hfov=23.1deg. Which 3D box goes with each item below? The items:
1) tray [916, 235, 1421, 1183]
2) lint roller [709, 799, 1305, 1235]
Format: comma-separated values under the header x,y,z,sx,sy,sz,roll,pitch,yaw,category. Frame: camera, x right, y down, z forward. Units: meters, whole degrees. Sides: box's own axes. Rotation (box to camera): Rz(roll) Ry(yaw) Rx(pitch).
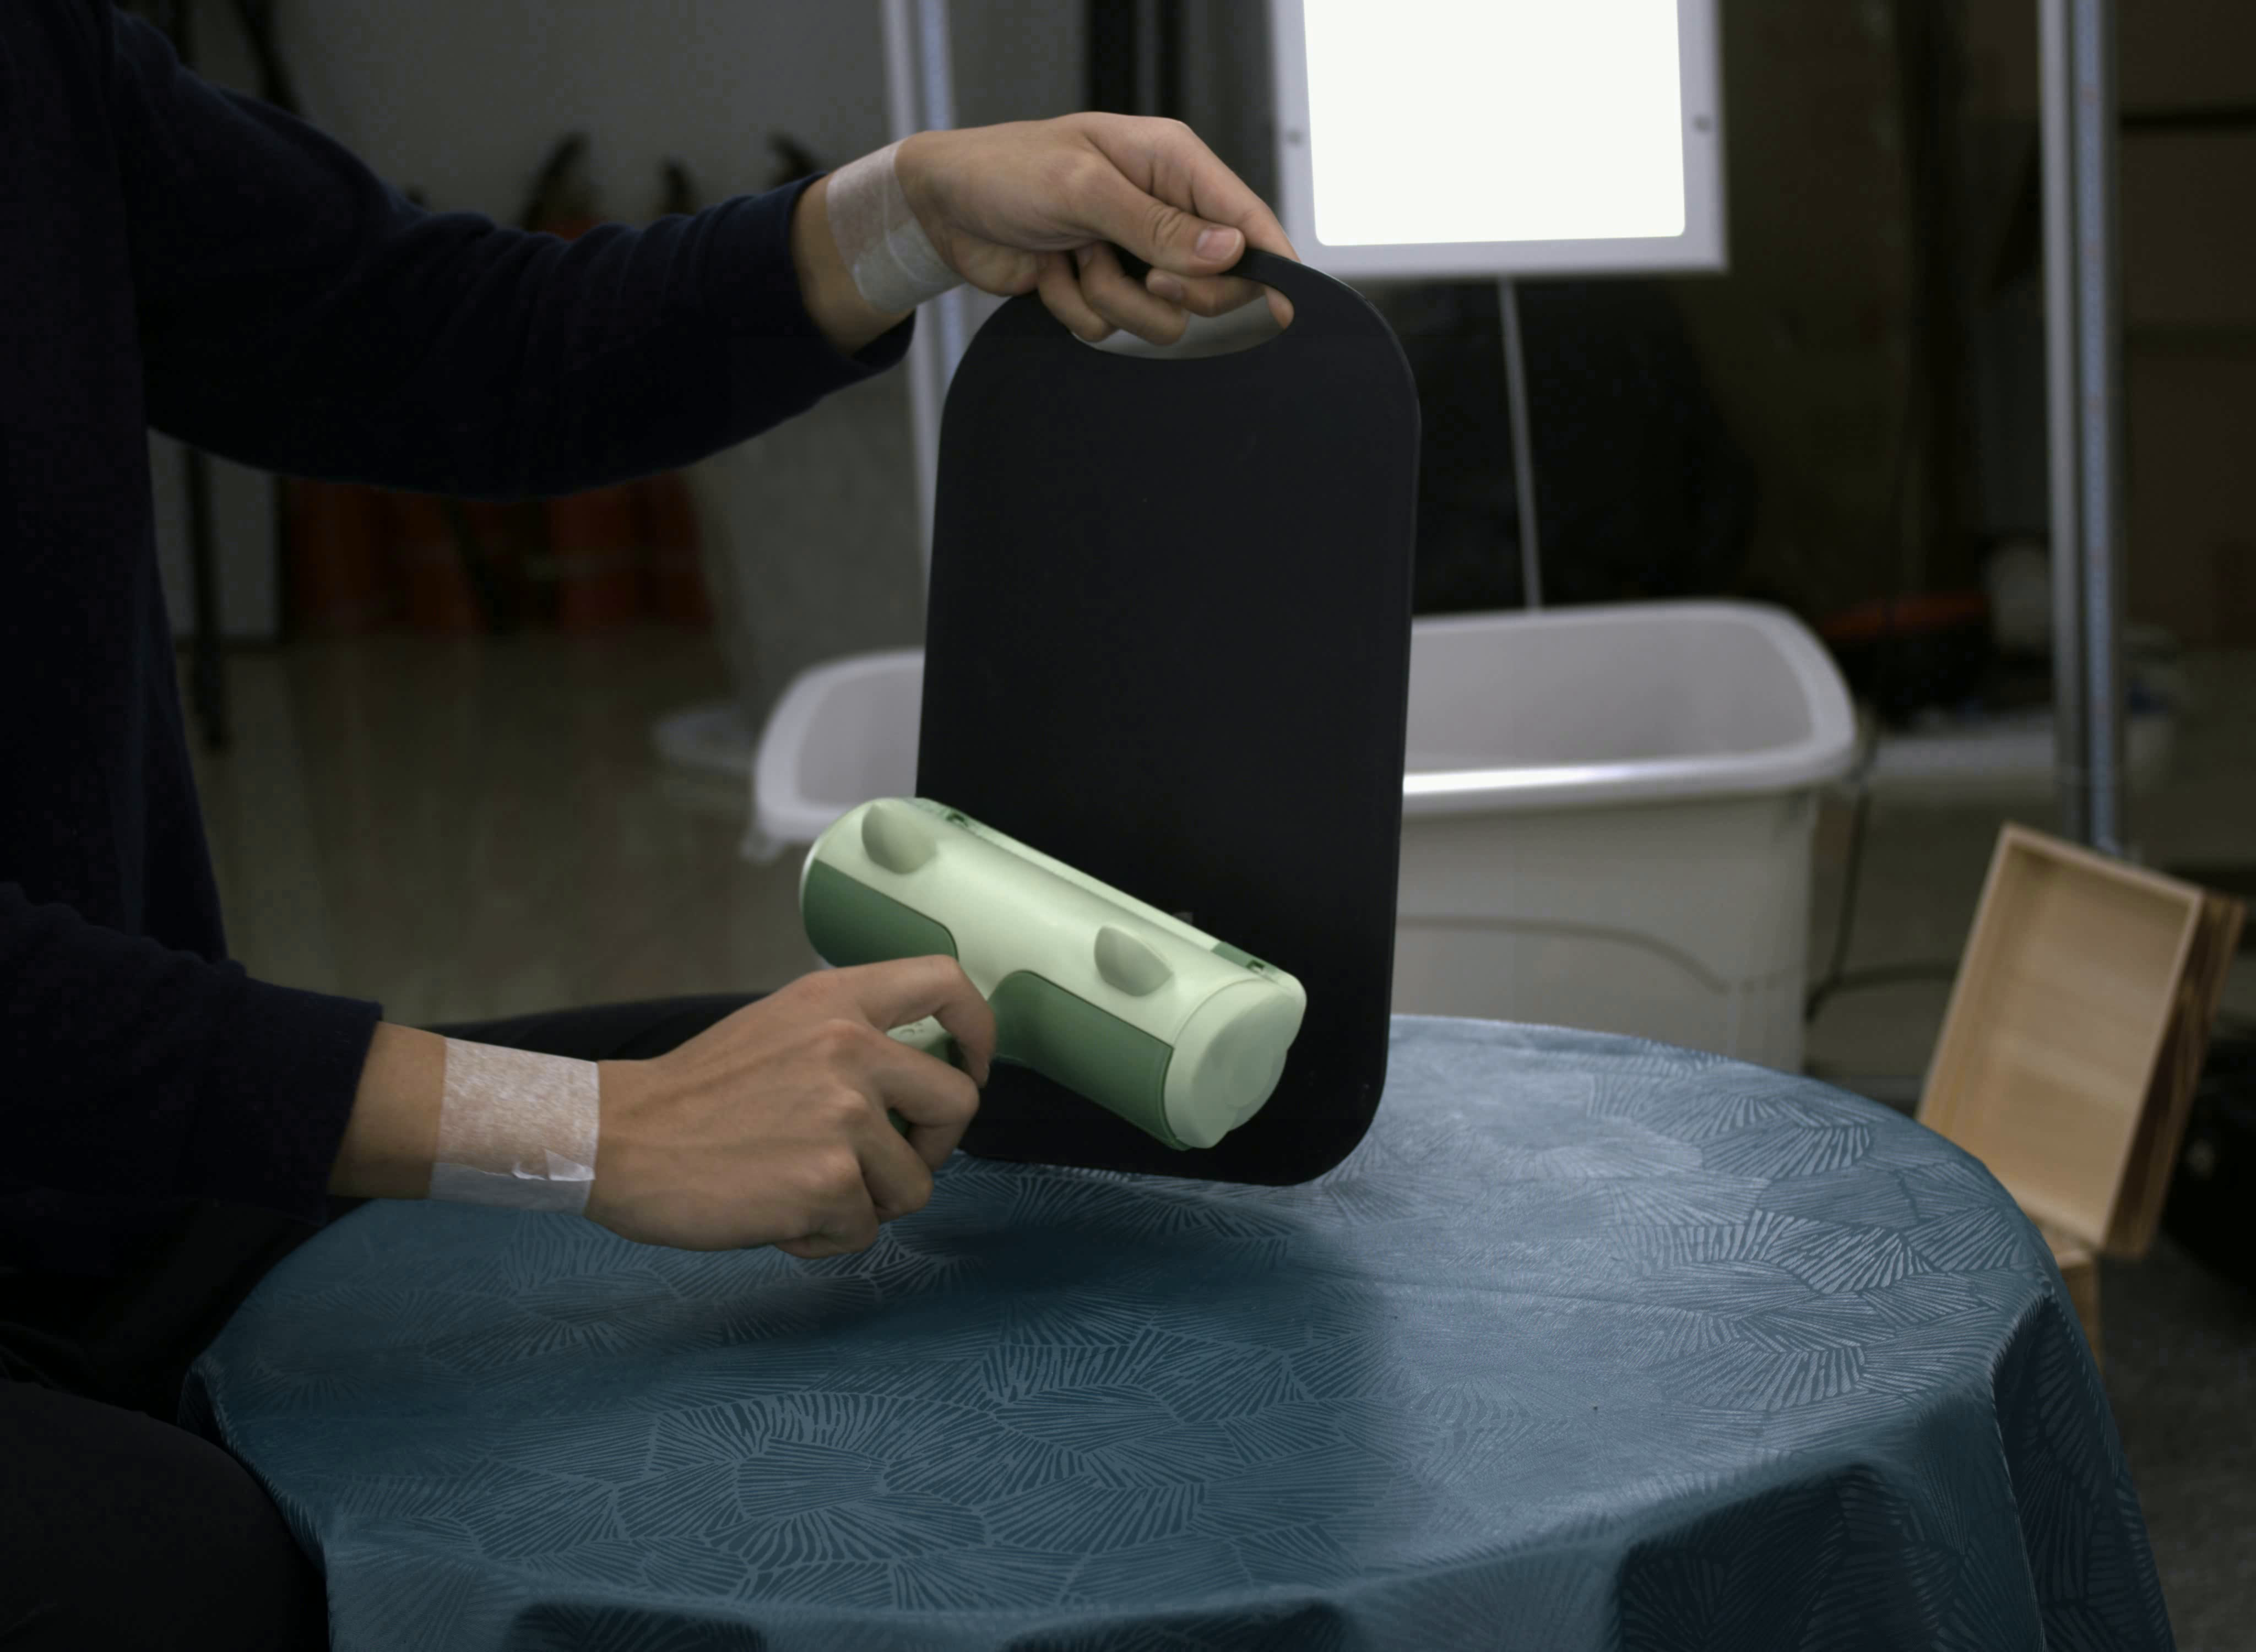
x,y,z,sx,sy,sz,roll,pitch,yaw,category
0.011,-0.042,1.910,0.215,0.326,0.009,2,0,38,tray
-0.070,0.063,1.811,0.179,0.082,0.202,-30,38,-33,lint roller
